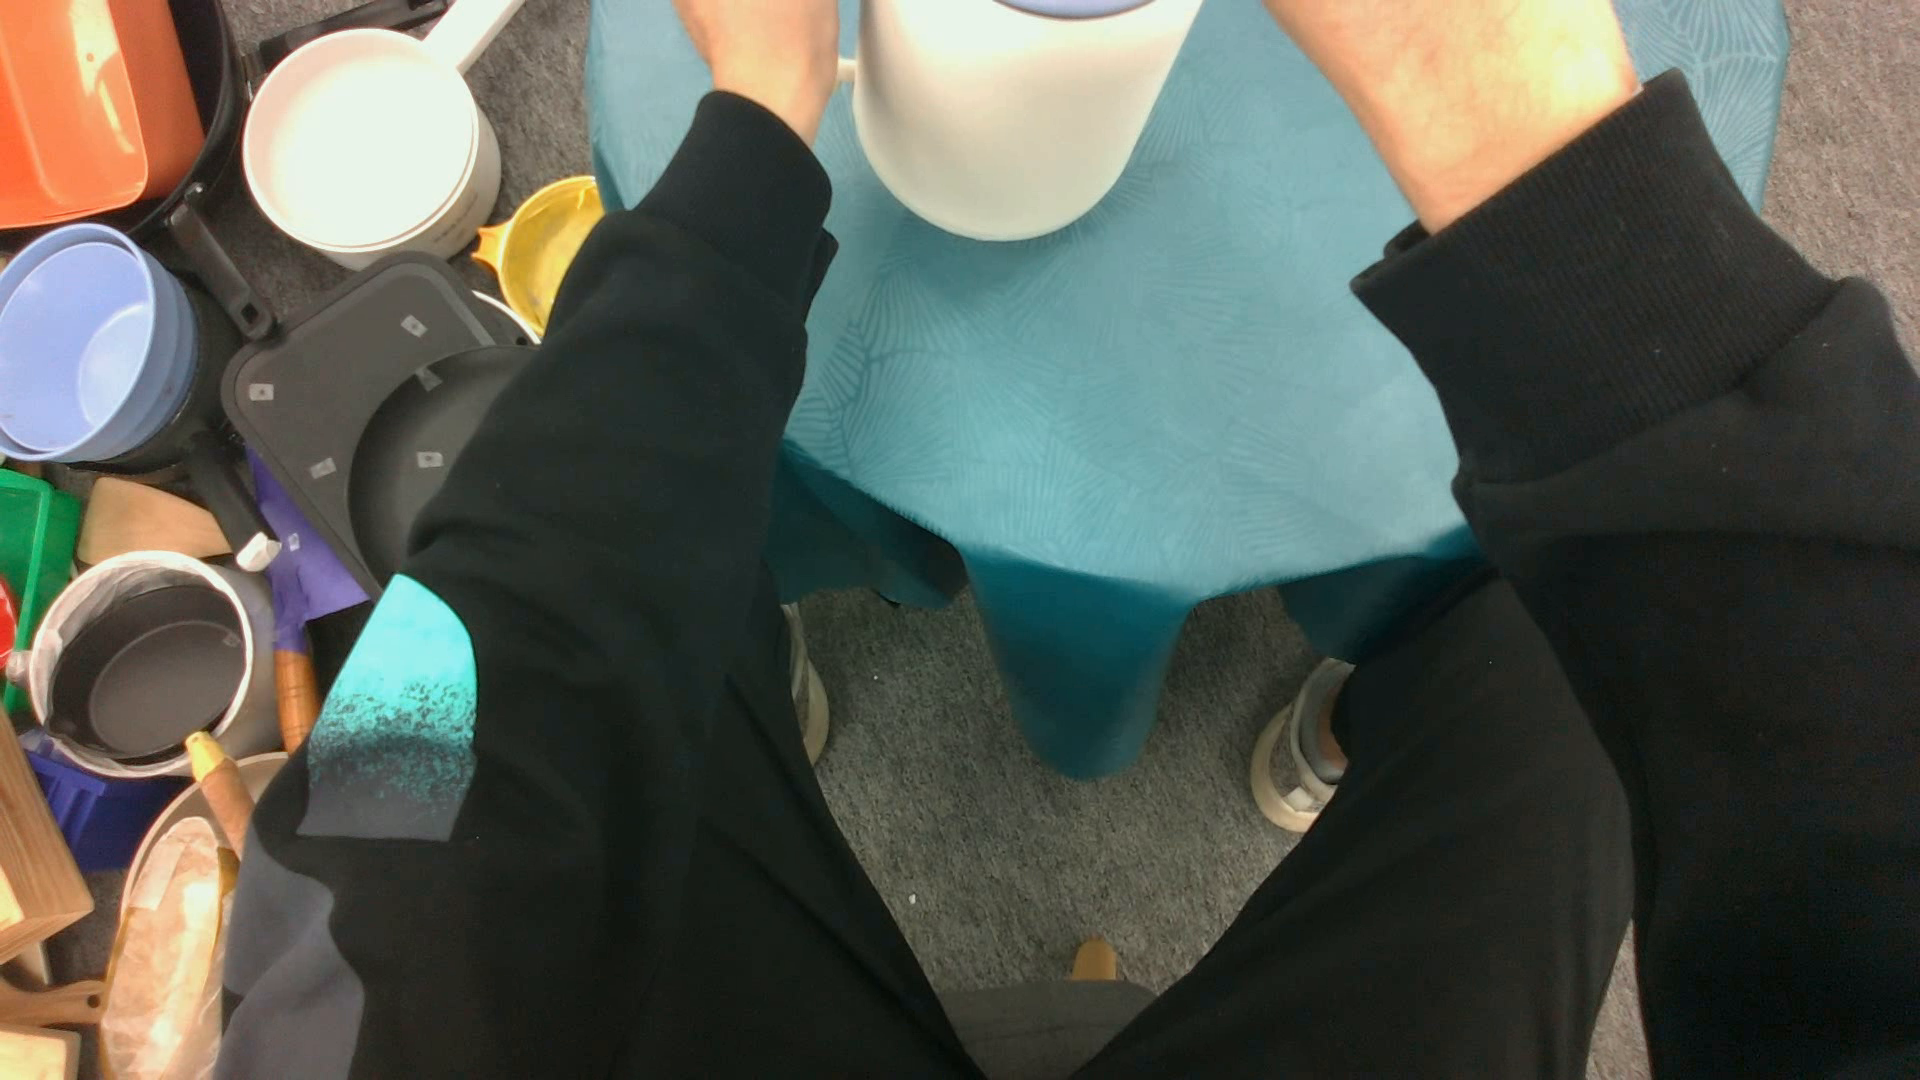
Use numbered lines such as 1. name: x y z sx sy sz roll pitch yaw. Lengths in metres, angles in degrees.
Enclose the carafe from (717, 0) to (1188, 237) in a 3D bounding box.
1. carafe: -0.004 -0.219 0.560 0.191 0.182 0.132 2 75 -5
